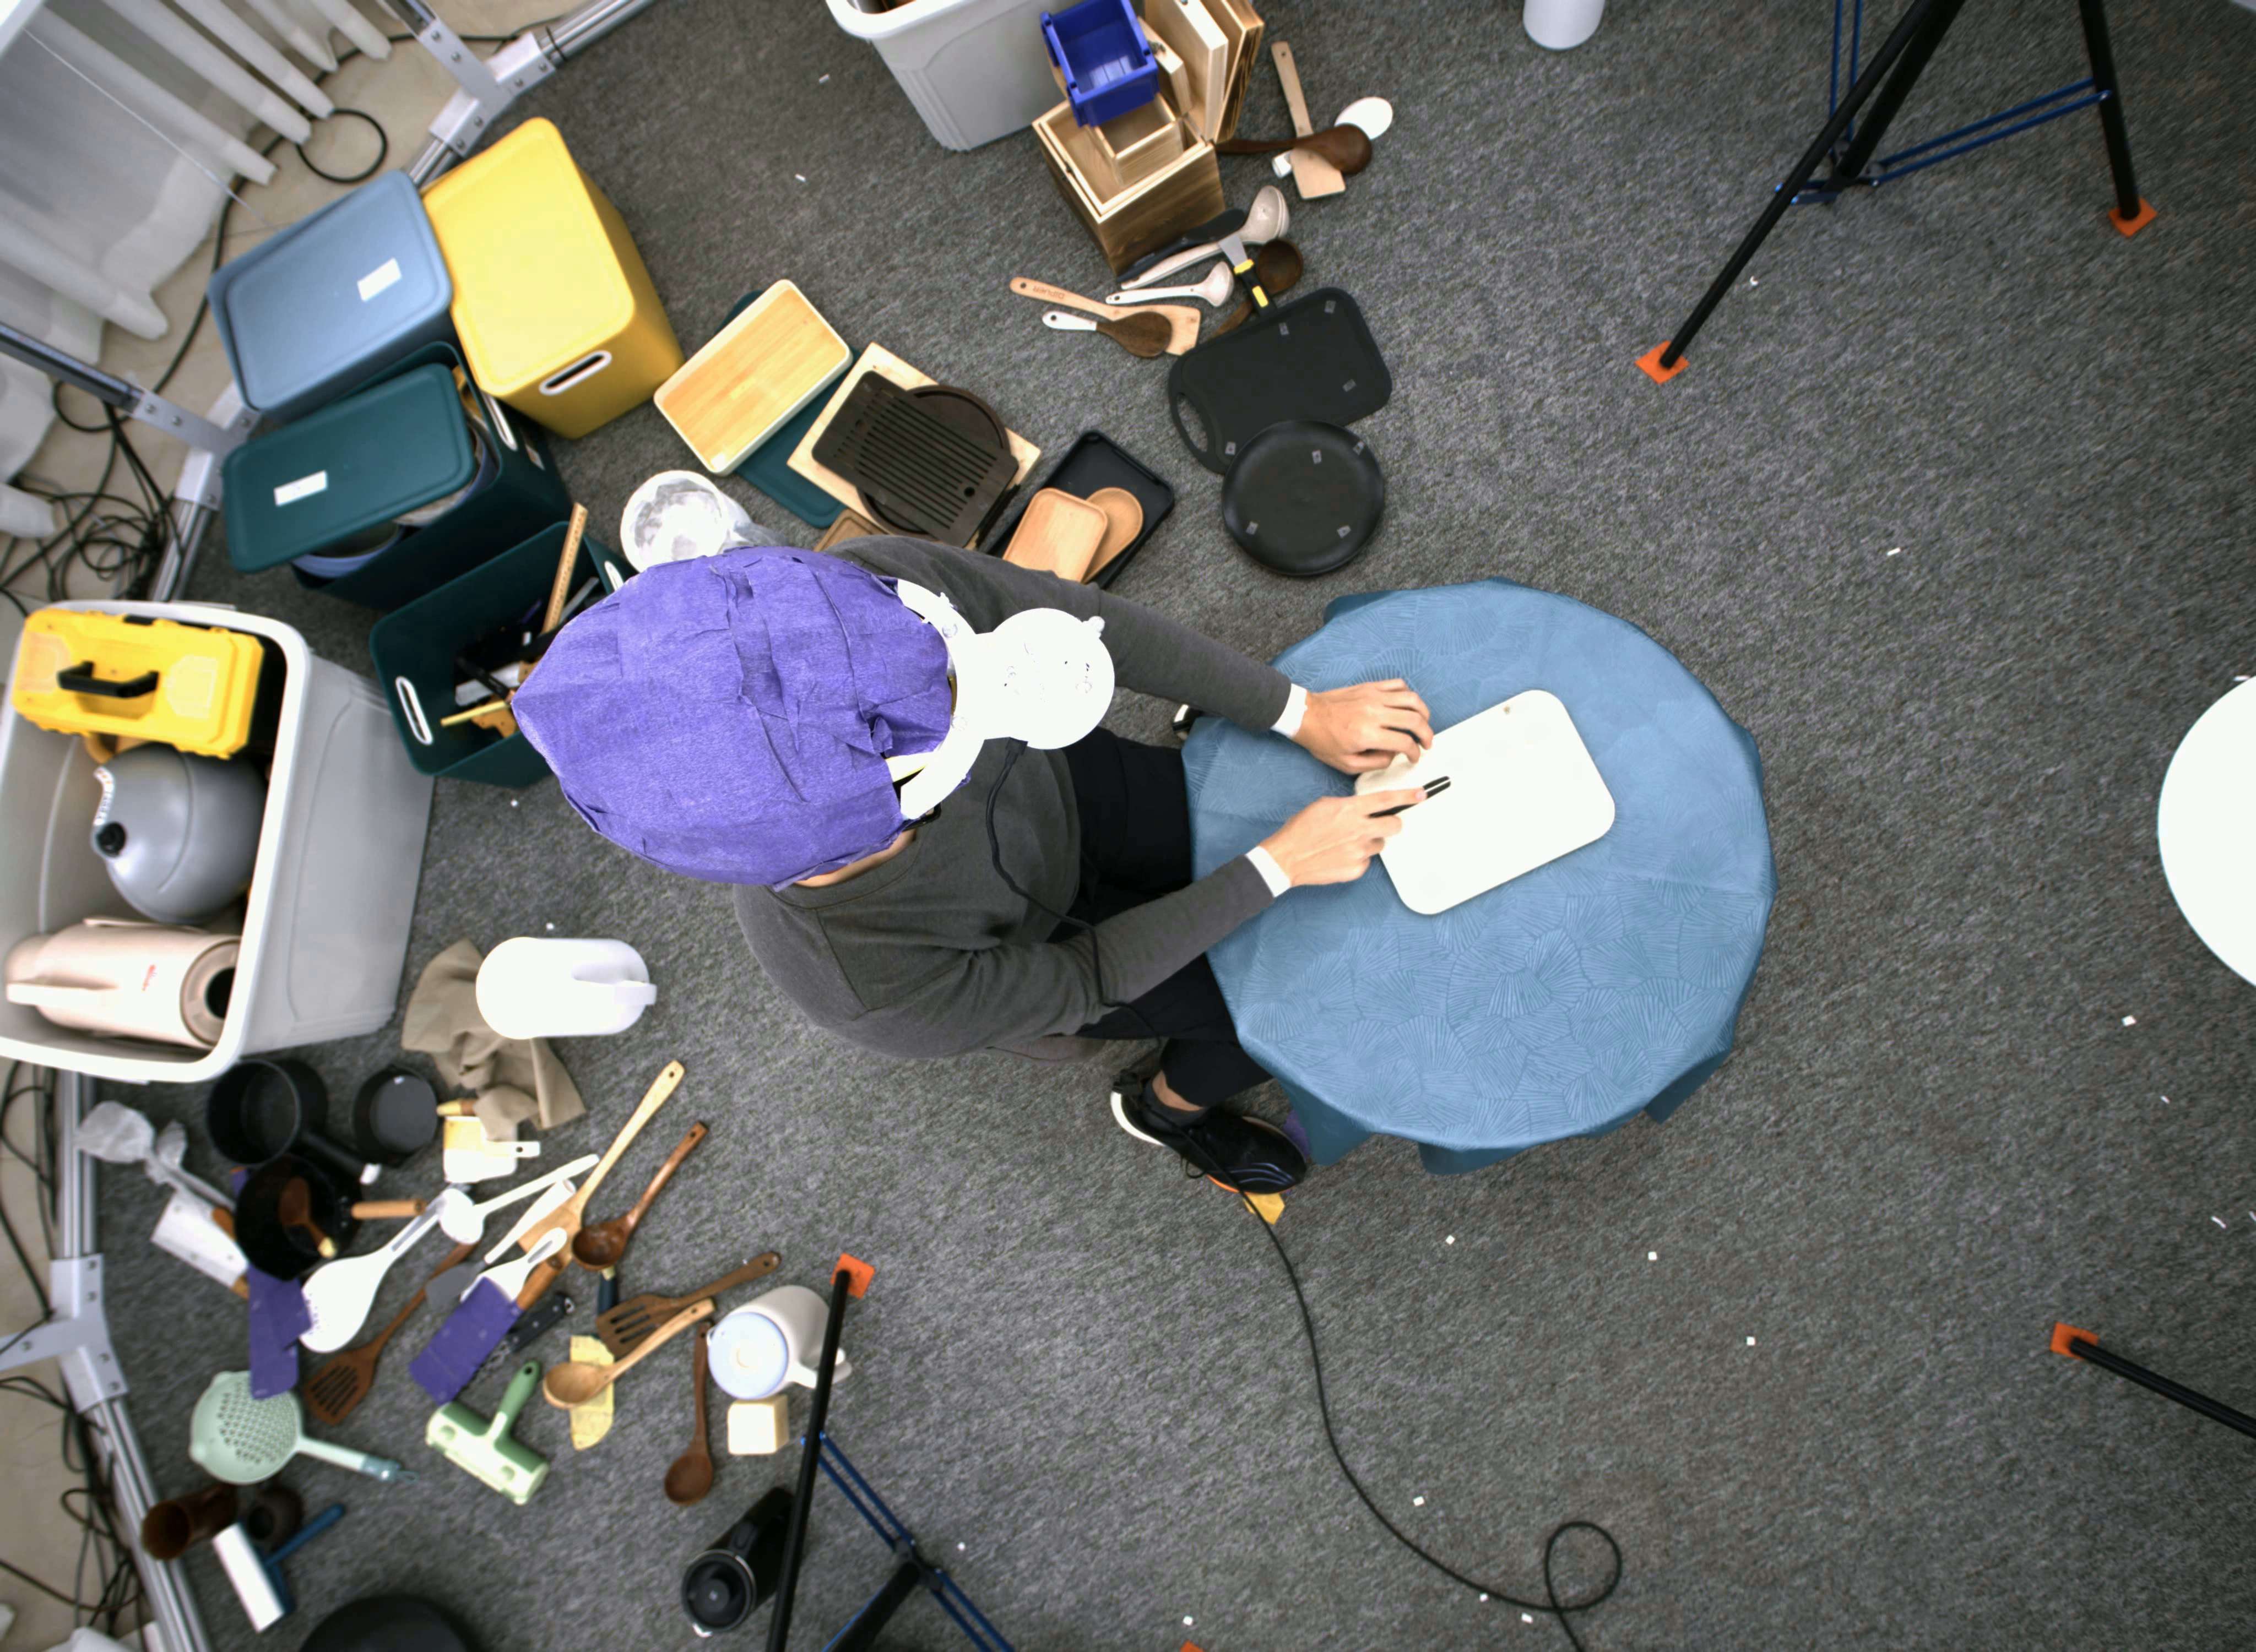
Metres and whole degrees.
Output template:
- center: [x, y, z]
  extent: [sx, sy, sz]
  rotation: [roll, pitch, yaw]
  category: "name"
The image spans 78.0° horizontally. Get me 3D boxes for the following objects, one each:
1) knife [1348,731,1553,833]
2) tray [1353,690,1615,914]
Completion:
- center: [0.334, -0.050, 1.412]
  extent: [0.238, 0.024, 0.016]
  rotation: [-25, 82, -1]
  category: "knife"
- center: [0.370, -0.027, 1.438]
  extent: [0.241, 0.017, 0.170]
  rotation: [-26, 83, 8]
  category: "tray"
